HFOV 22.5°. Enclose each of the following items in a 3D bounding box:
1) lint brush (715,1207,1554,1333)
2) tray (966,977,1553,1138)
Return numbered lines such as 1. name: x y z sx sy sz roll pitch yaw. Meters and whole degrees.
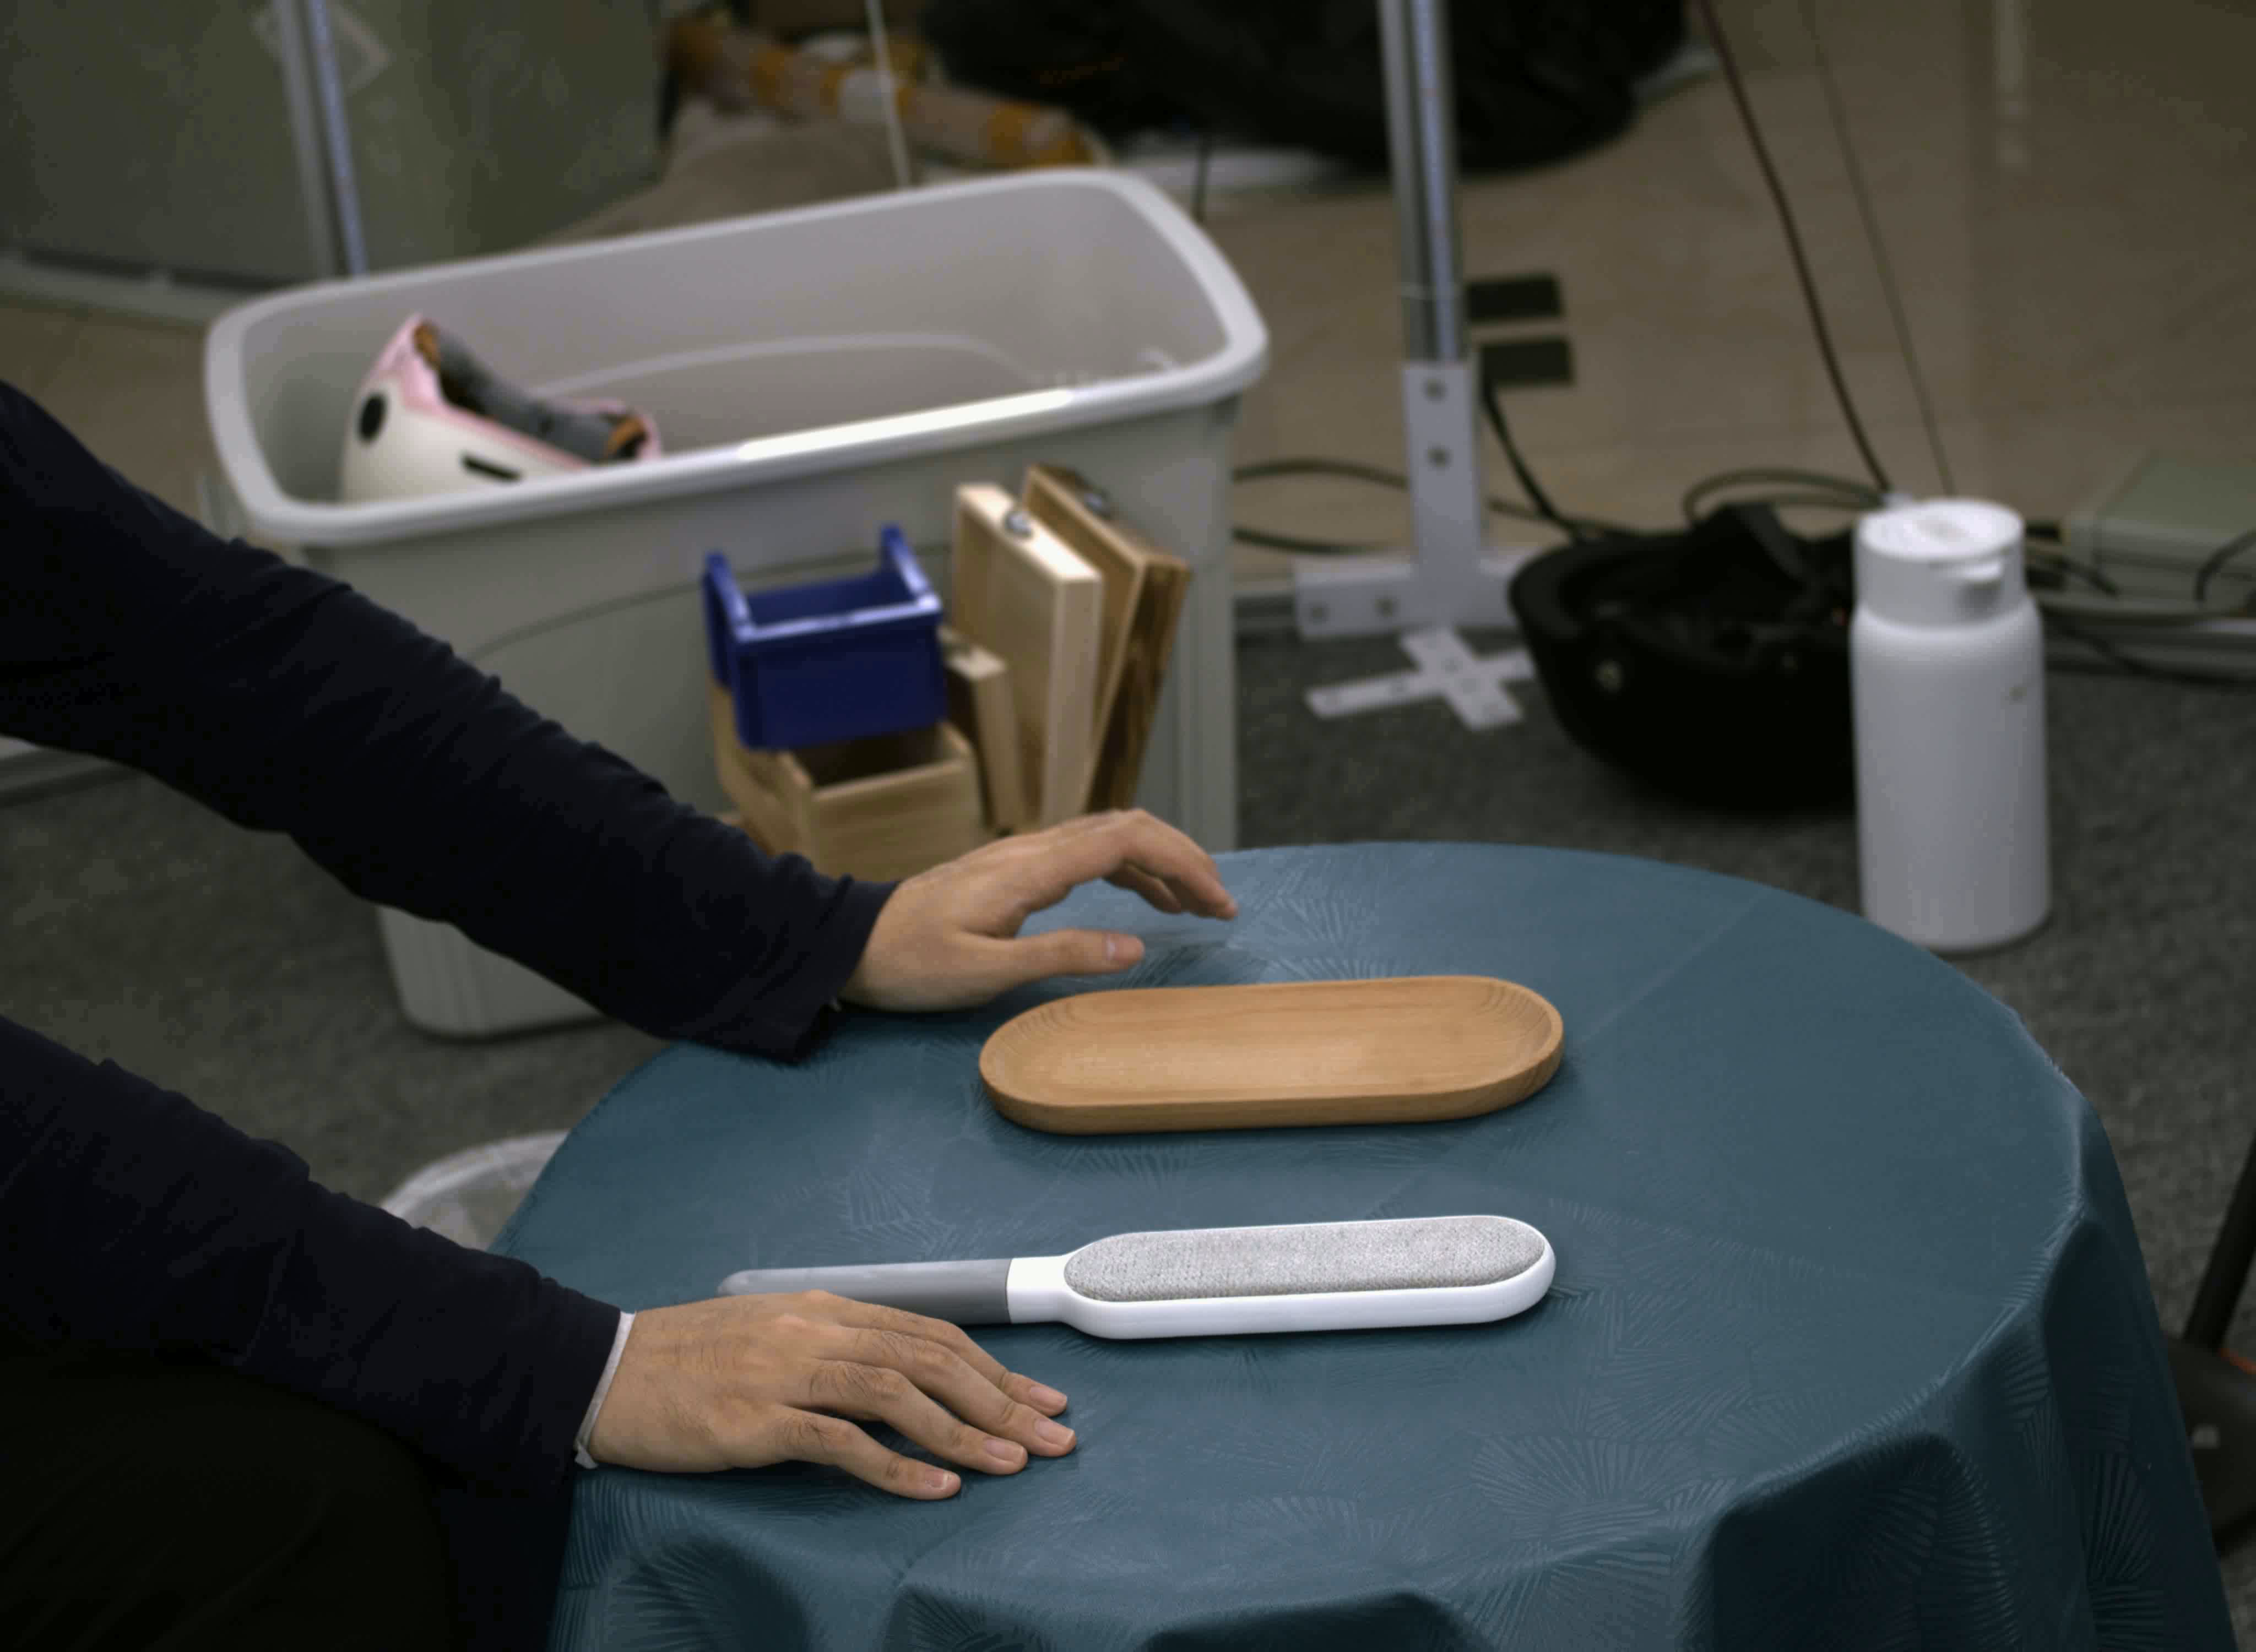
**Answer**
1. lint brush: 0.001 0.164 2.066 0.308 0.021 0.059 -3 30 8
2. tray: 0.051 0.091 2.223 0.231 0.020 0.100 -5 23 8
